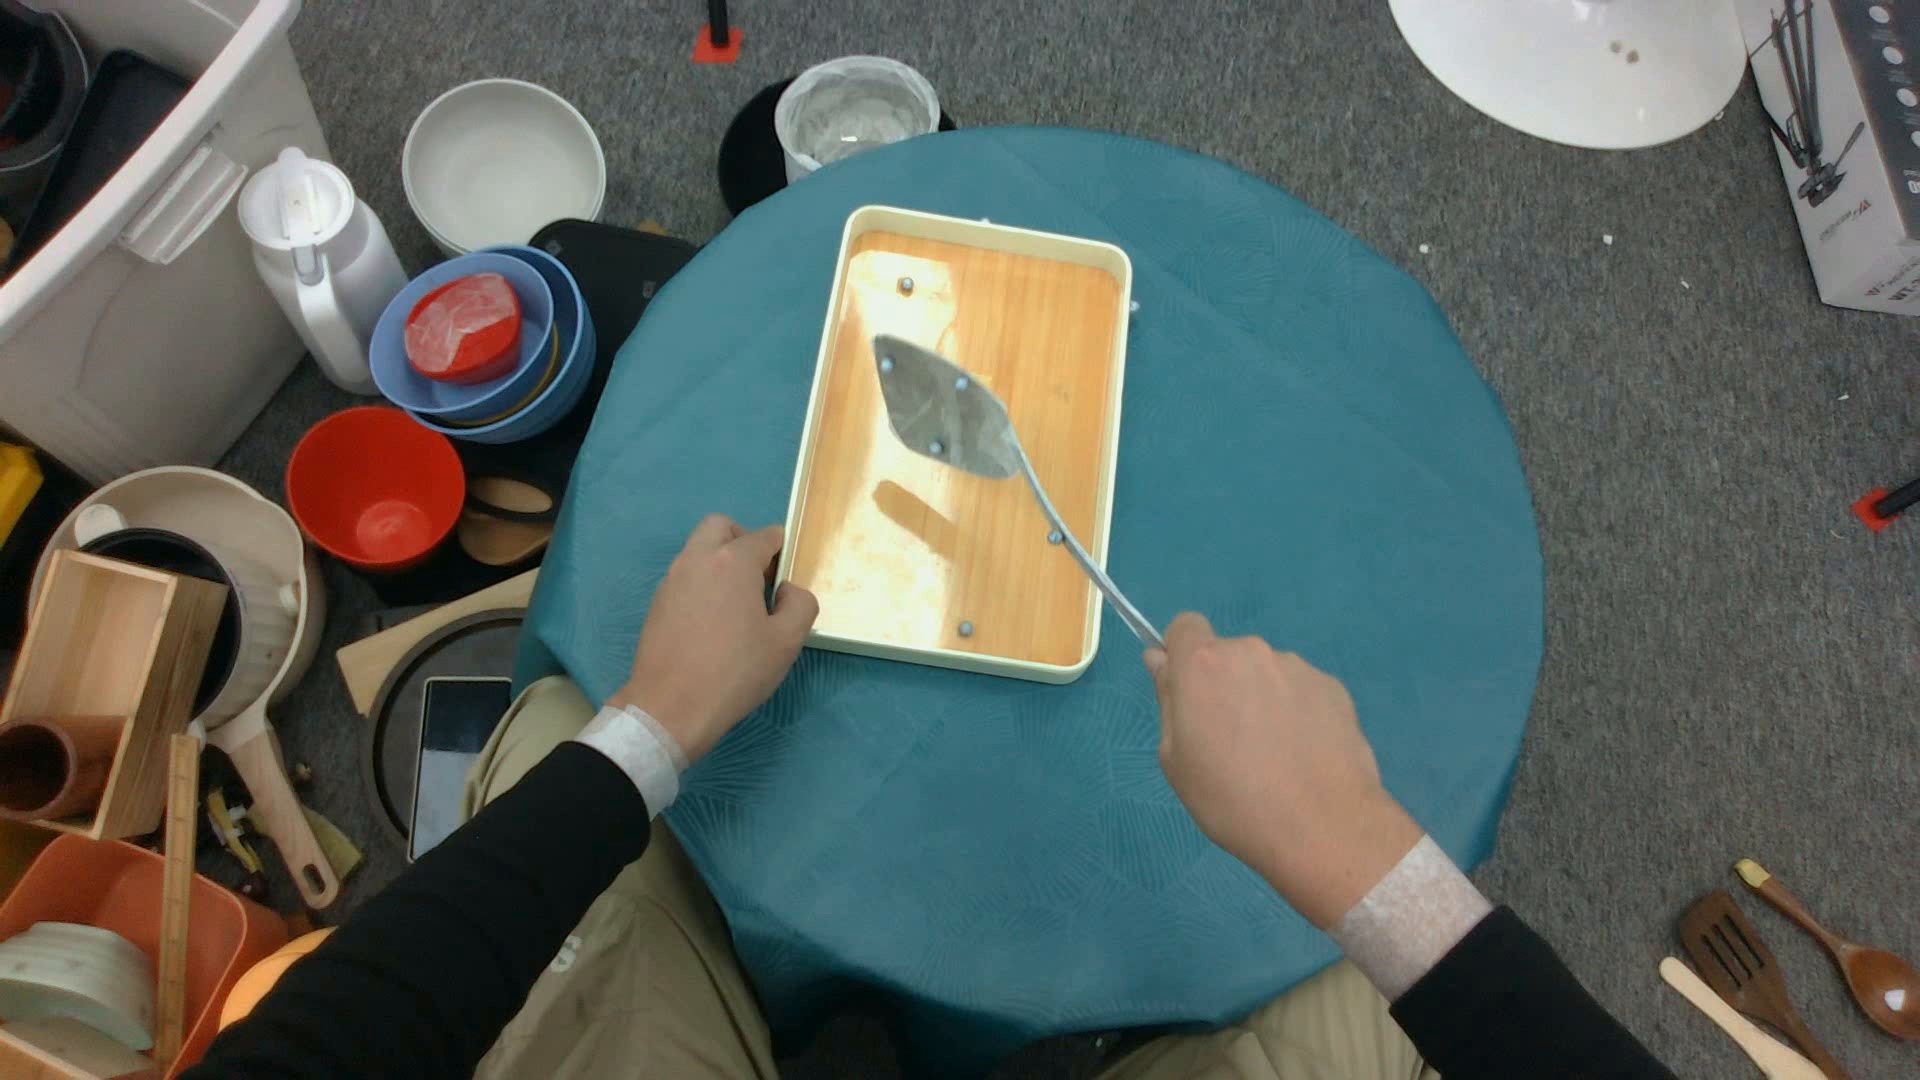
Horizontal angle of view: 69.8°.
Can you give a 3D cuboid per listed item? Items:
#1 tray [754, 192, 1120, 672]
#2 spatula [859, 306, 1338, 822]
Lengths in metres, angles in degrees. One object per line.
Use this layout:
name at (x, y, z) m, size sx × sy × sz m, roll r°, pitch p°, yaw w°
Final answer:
tray at (-0.008, -0.074, 0.849) m, size 0.191 × 0.027 × 0.301 m, roll 10°, pitch 66°, yaw -2°
spatula at (0.055, 0.006, 0.690) m, size 0.045 × 0.098 × 0.365 m, roll -26°, pitch 55°, yaw -17°
